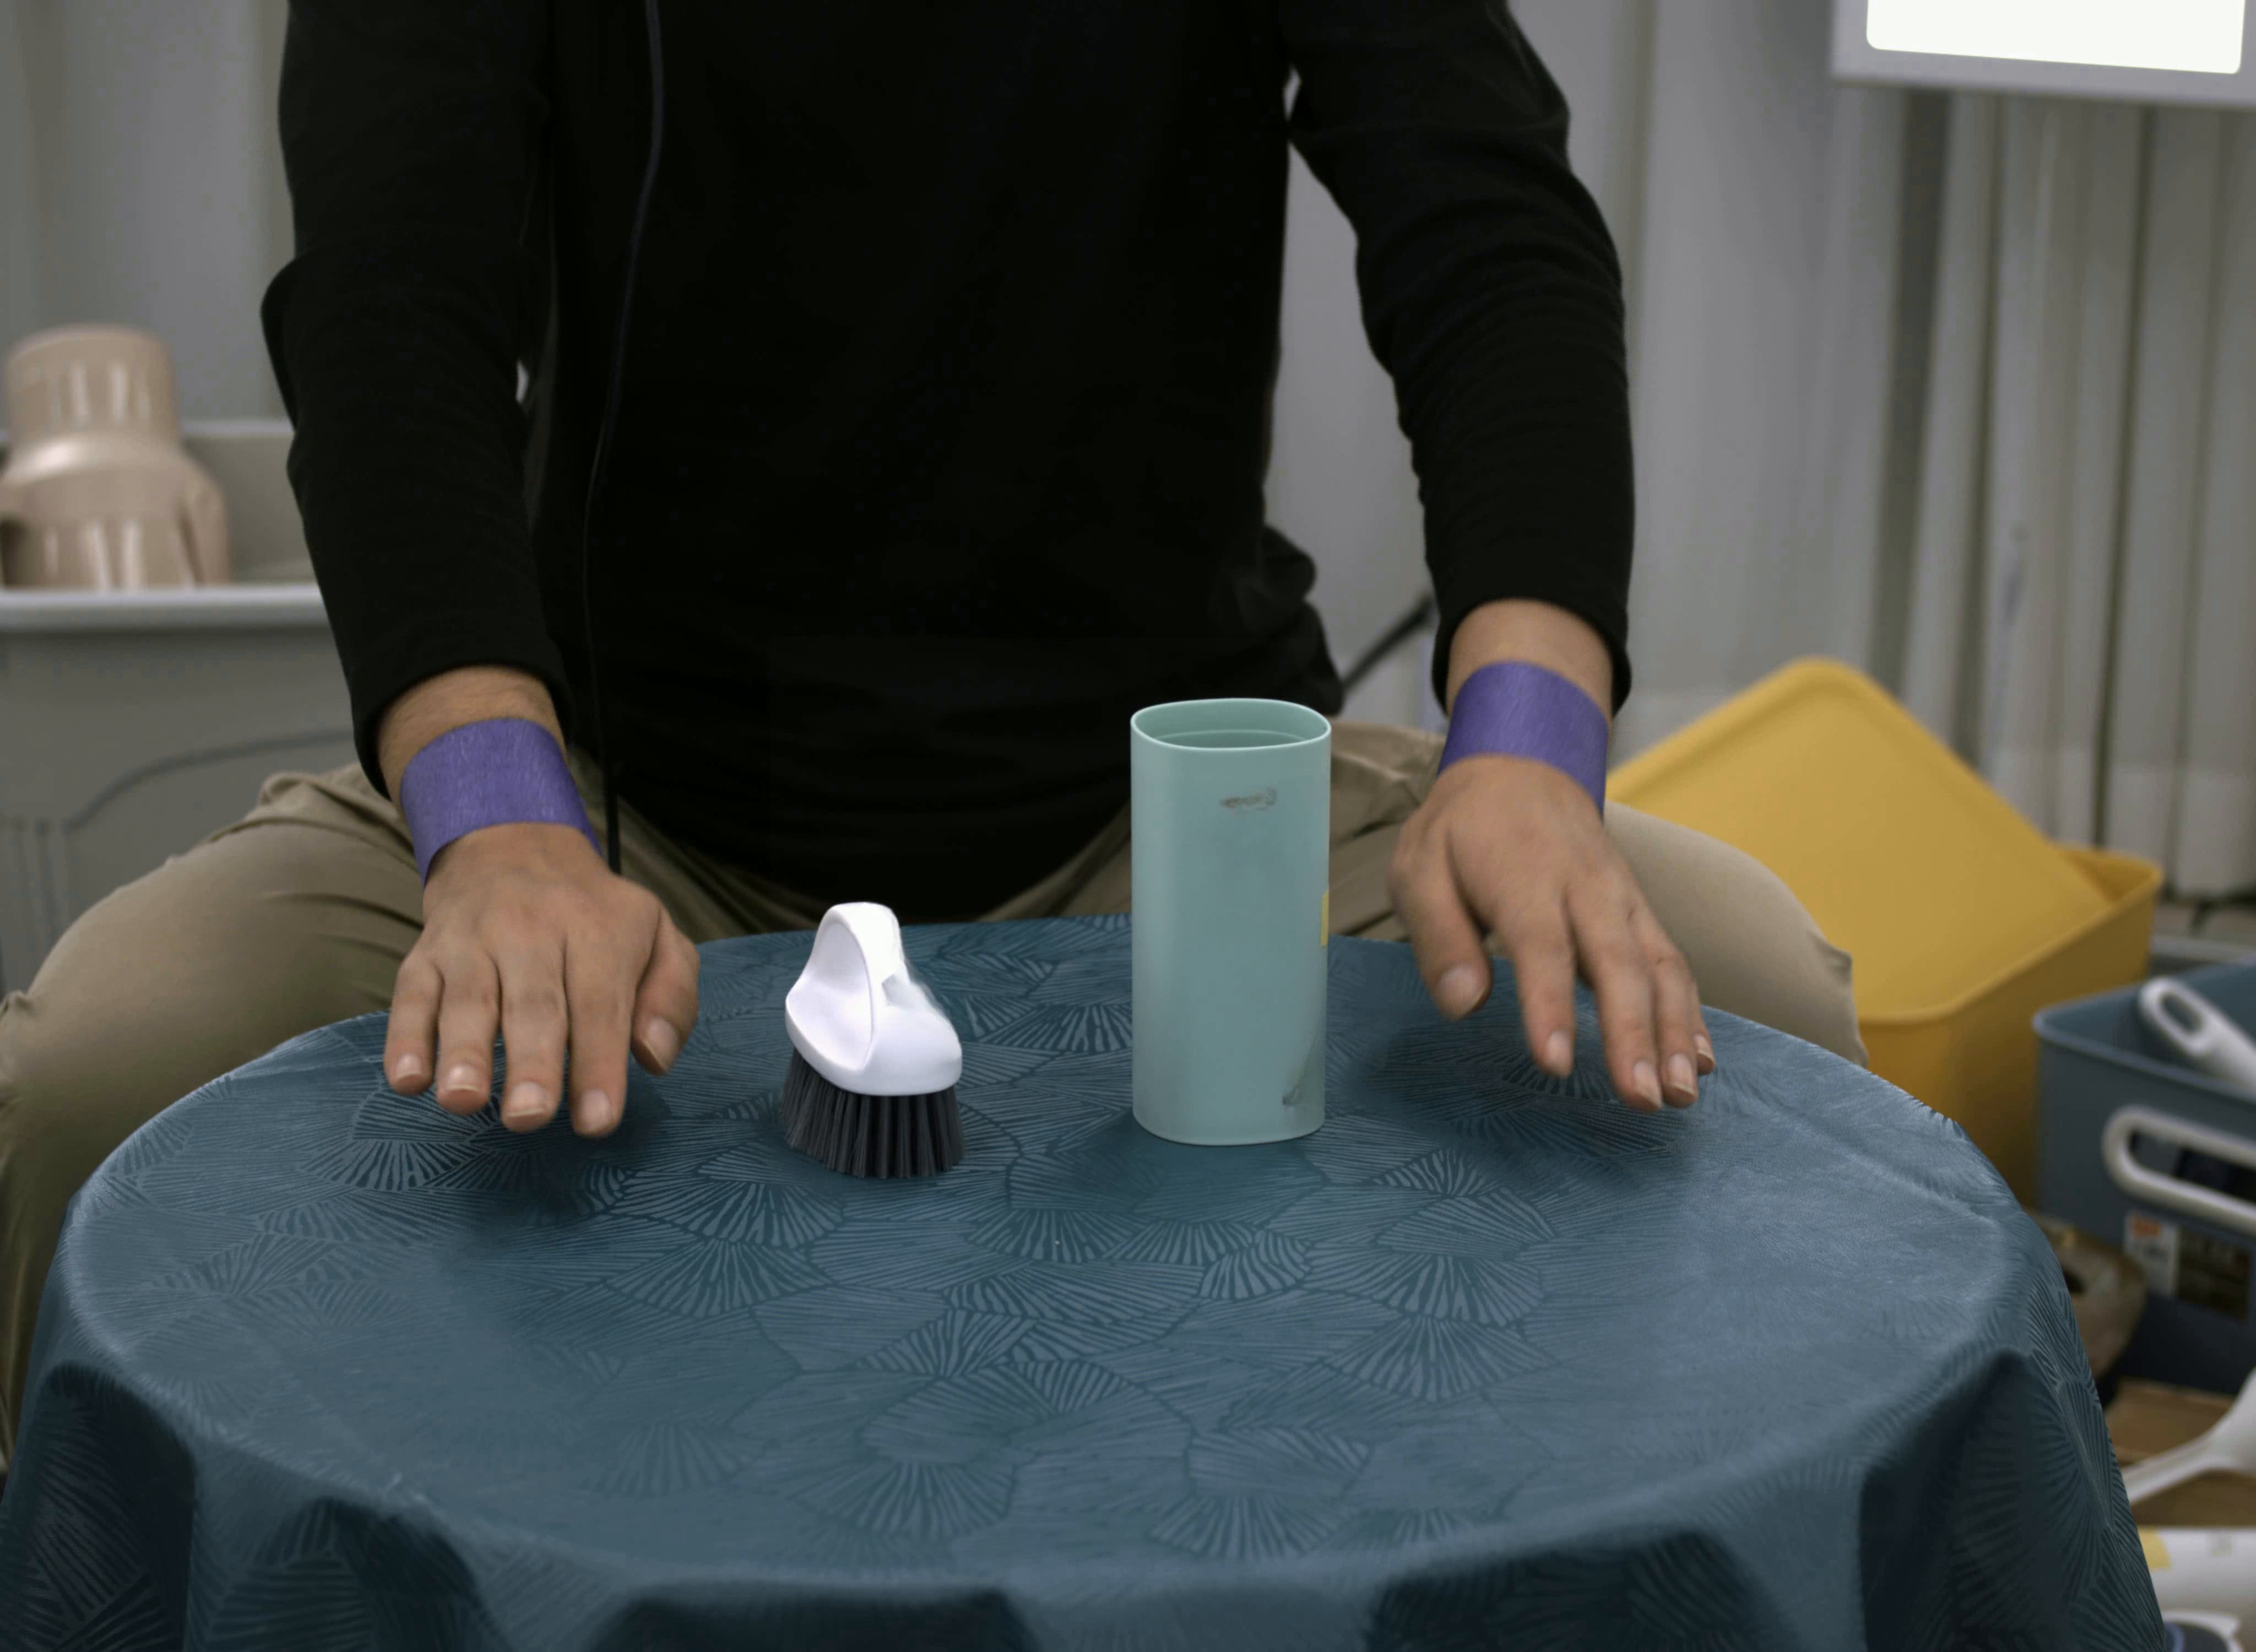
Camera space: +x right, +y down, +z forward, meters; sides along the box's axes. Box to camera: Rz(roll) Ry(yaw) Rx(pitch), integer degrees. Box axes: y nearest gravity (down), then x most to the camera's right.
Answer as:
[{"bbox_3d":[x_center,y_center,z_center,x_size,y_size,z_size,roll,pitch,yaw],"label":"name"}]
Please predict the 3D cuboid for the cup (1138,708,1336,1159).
[{"bbox_3d":[0.033,0.034,1.675,0.066,0.133,0.066,0,17,0],"label":"cup"}]

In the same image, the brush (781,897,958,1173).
[{"bbox_3d":[-0.082,0.061,1.665,0.050,0.073,0.098,-2,17,-13],"label":"brush"}]
